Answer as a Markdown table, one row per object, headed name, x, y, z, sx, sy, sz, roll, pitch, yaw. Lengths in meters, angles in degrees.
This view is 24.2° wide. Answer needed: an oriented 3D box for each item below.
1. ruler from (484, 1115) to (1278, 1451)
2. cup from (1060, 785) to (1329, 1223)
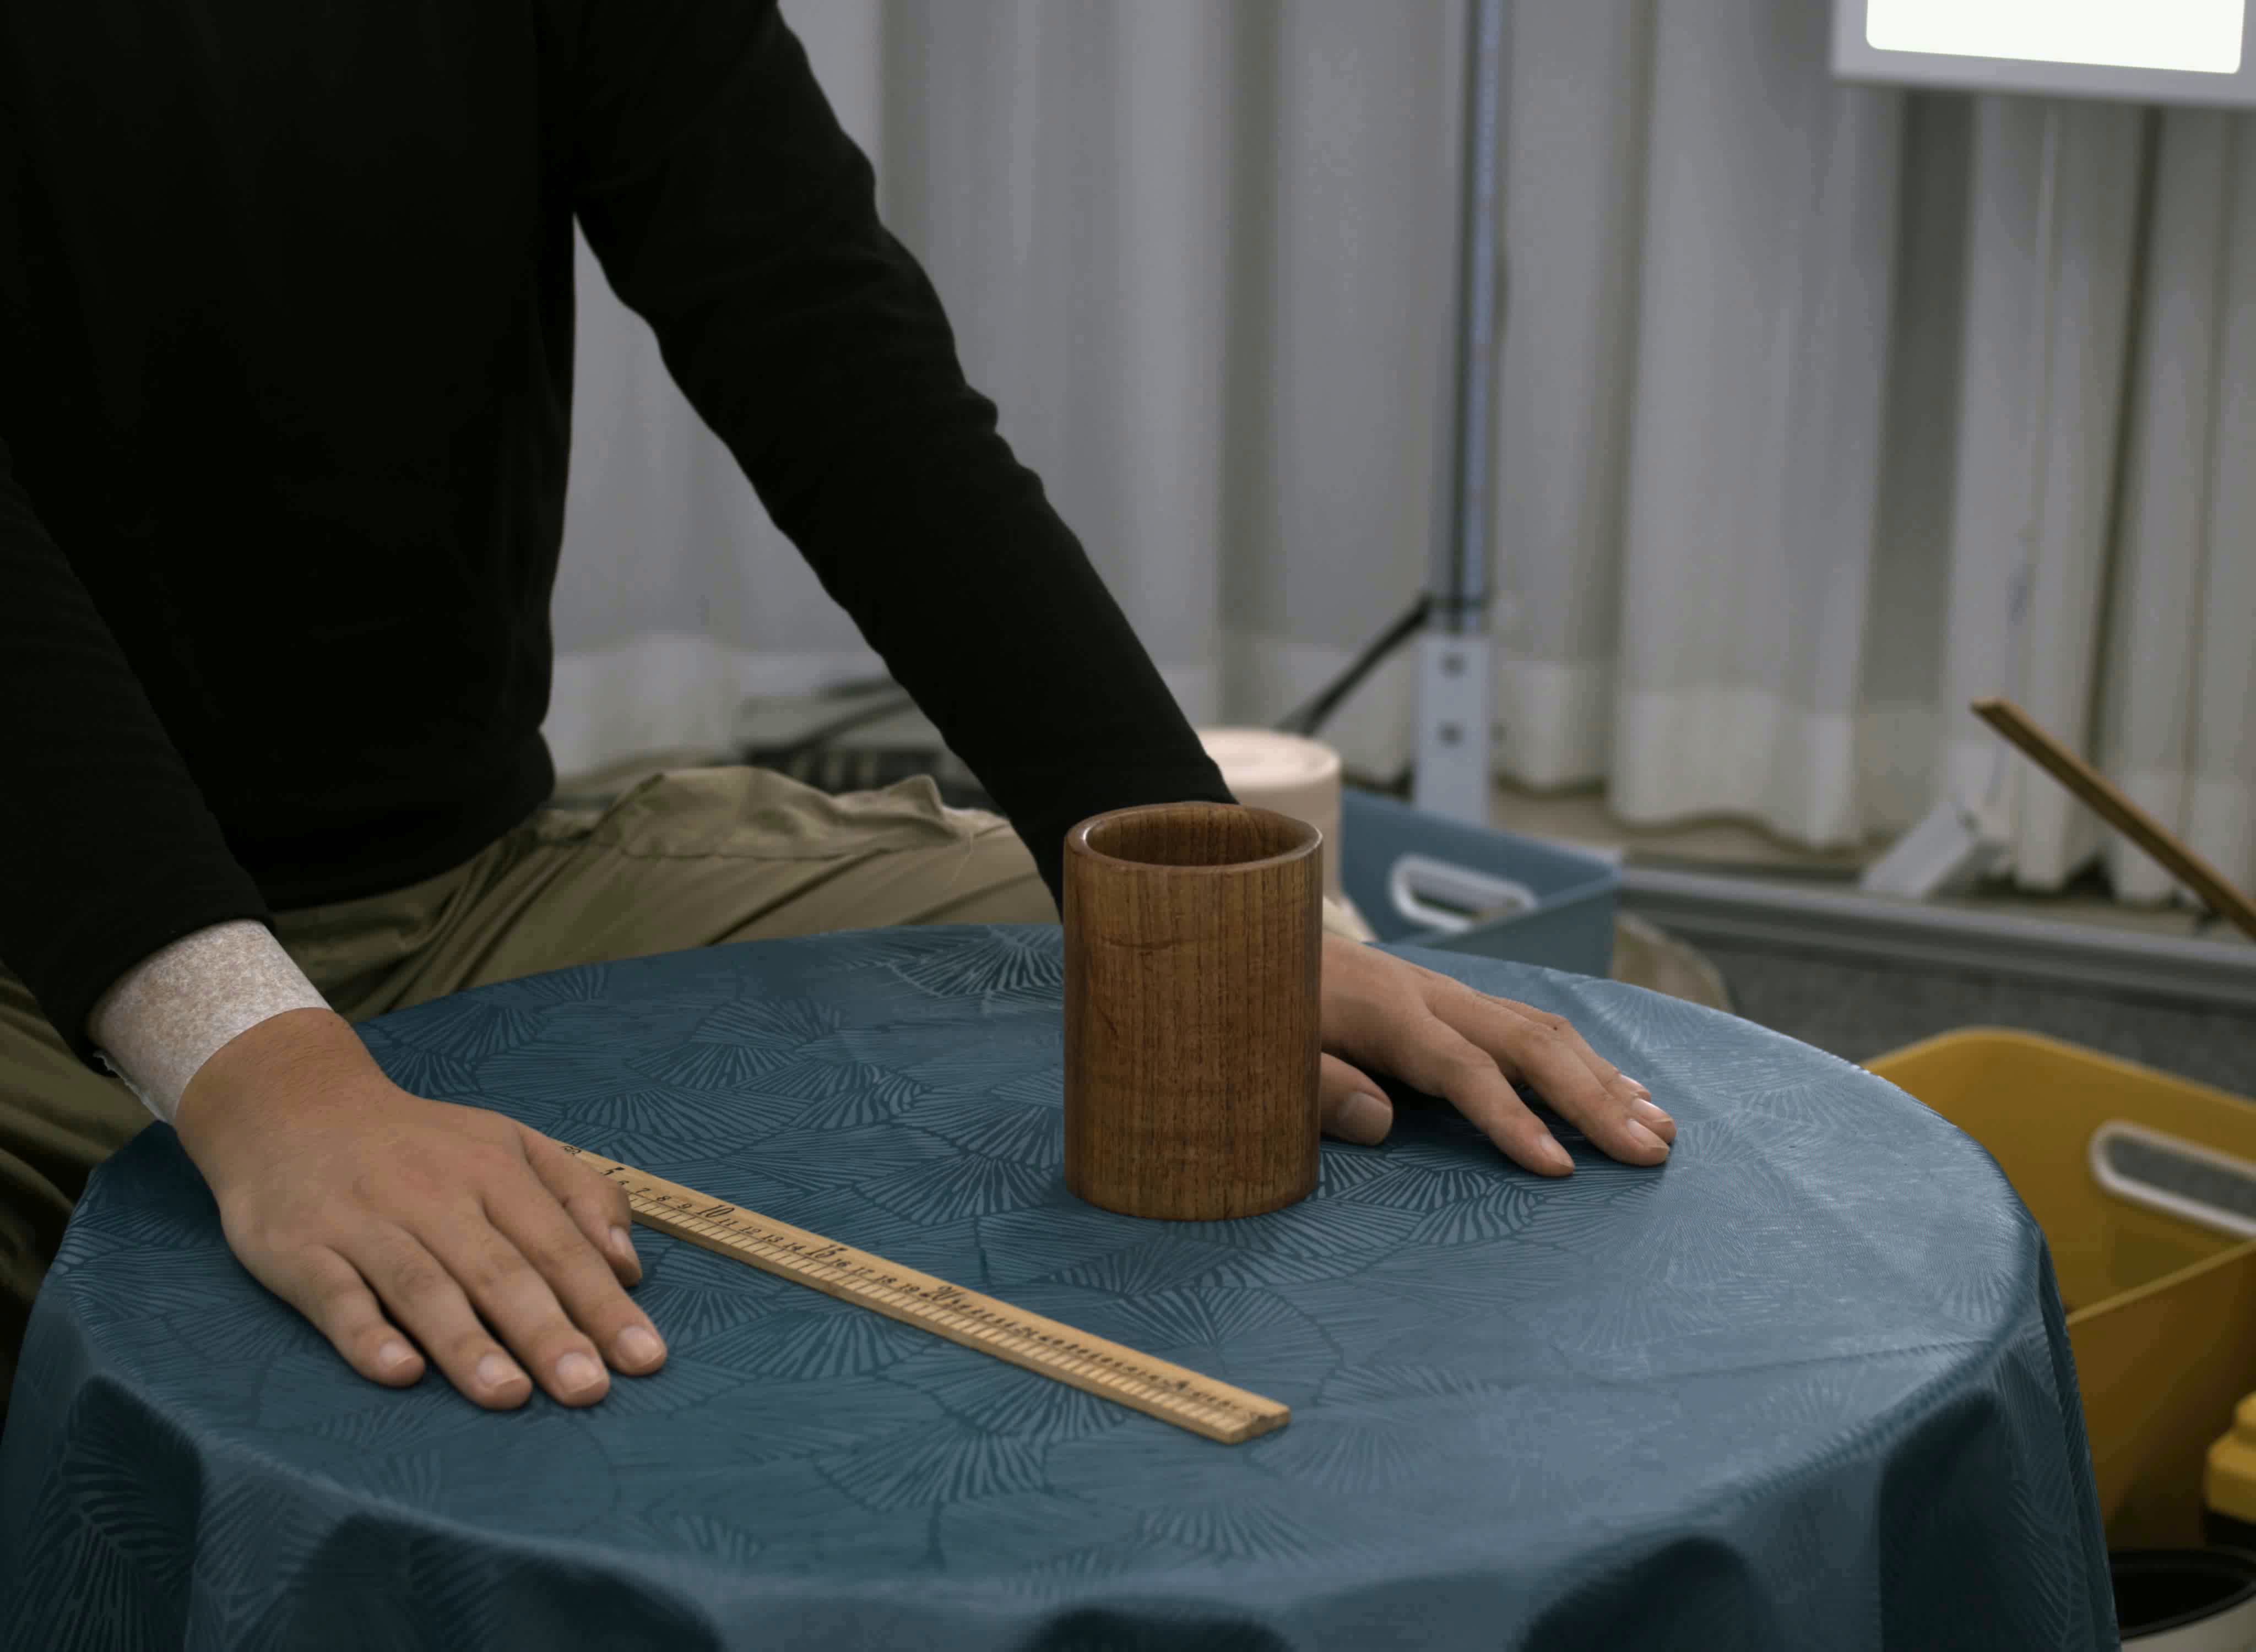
| name | x | y | z | sx | sy | sz | roll | pitch | yaw |
| --- | --- | --- | --- | --- | --- | --- | --- | --- | --- |
| ruler | -0.081 | 0.128 | 1.541 | 0.027 | 0.022 | 0.327 | -9 | 18 | -43 |
| cup | 0.020 | 0.054 | 1.614 | 0.087 | 0.119 | 0.087 | 1 | 15 | 0 |
